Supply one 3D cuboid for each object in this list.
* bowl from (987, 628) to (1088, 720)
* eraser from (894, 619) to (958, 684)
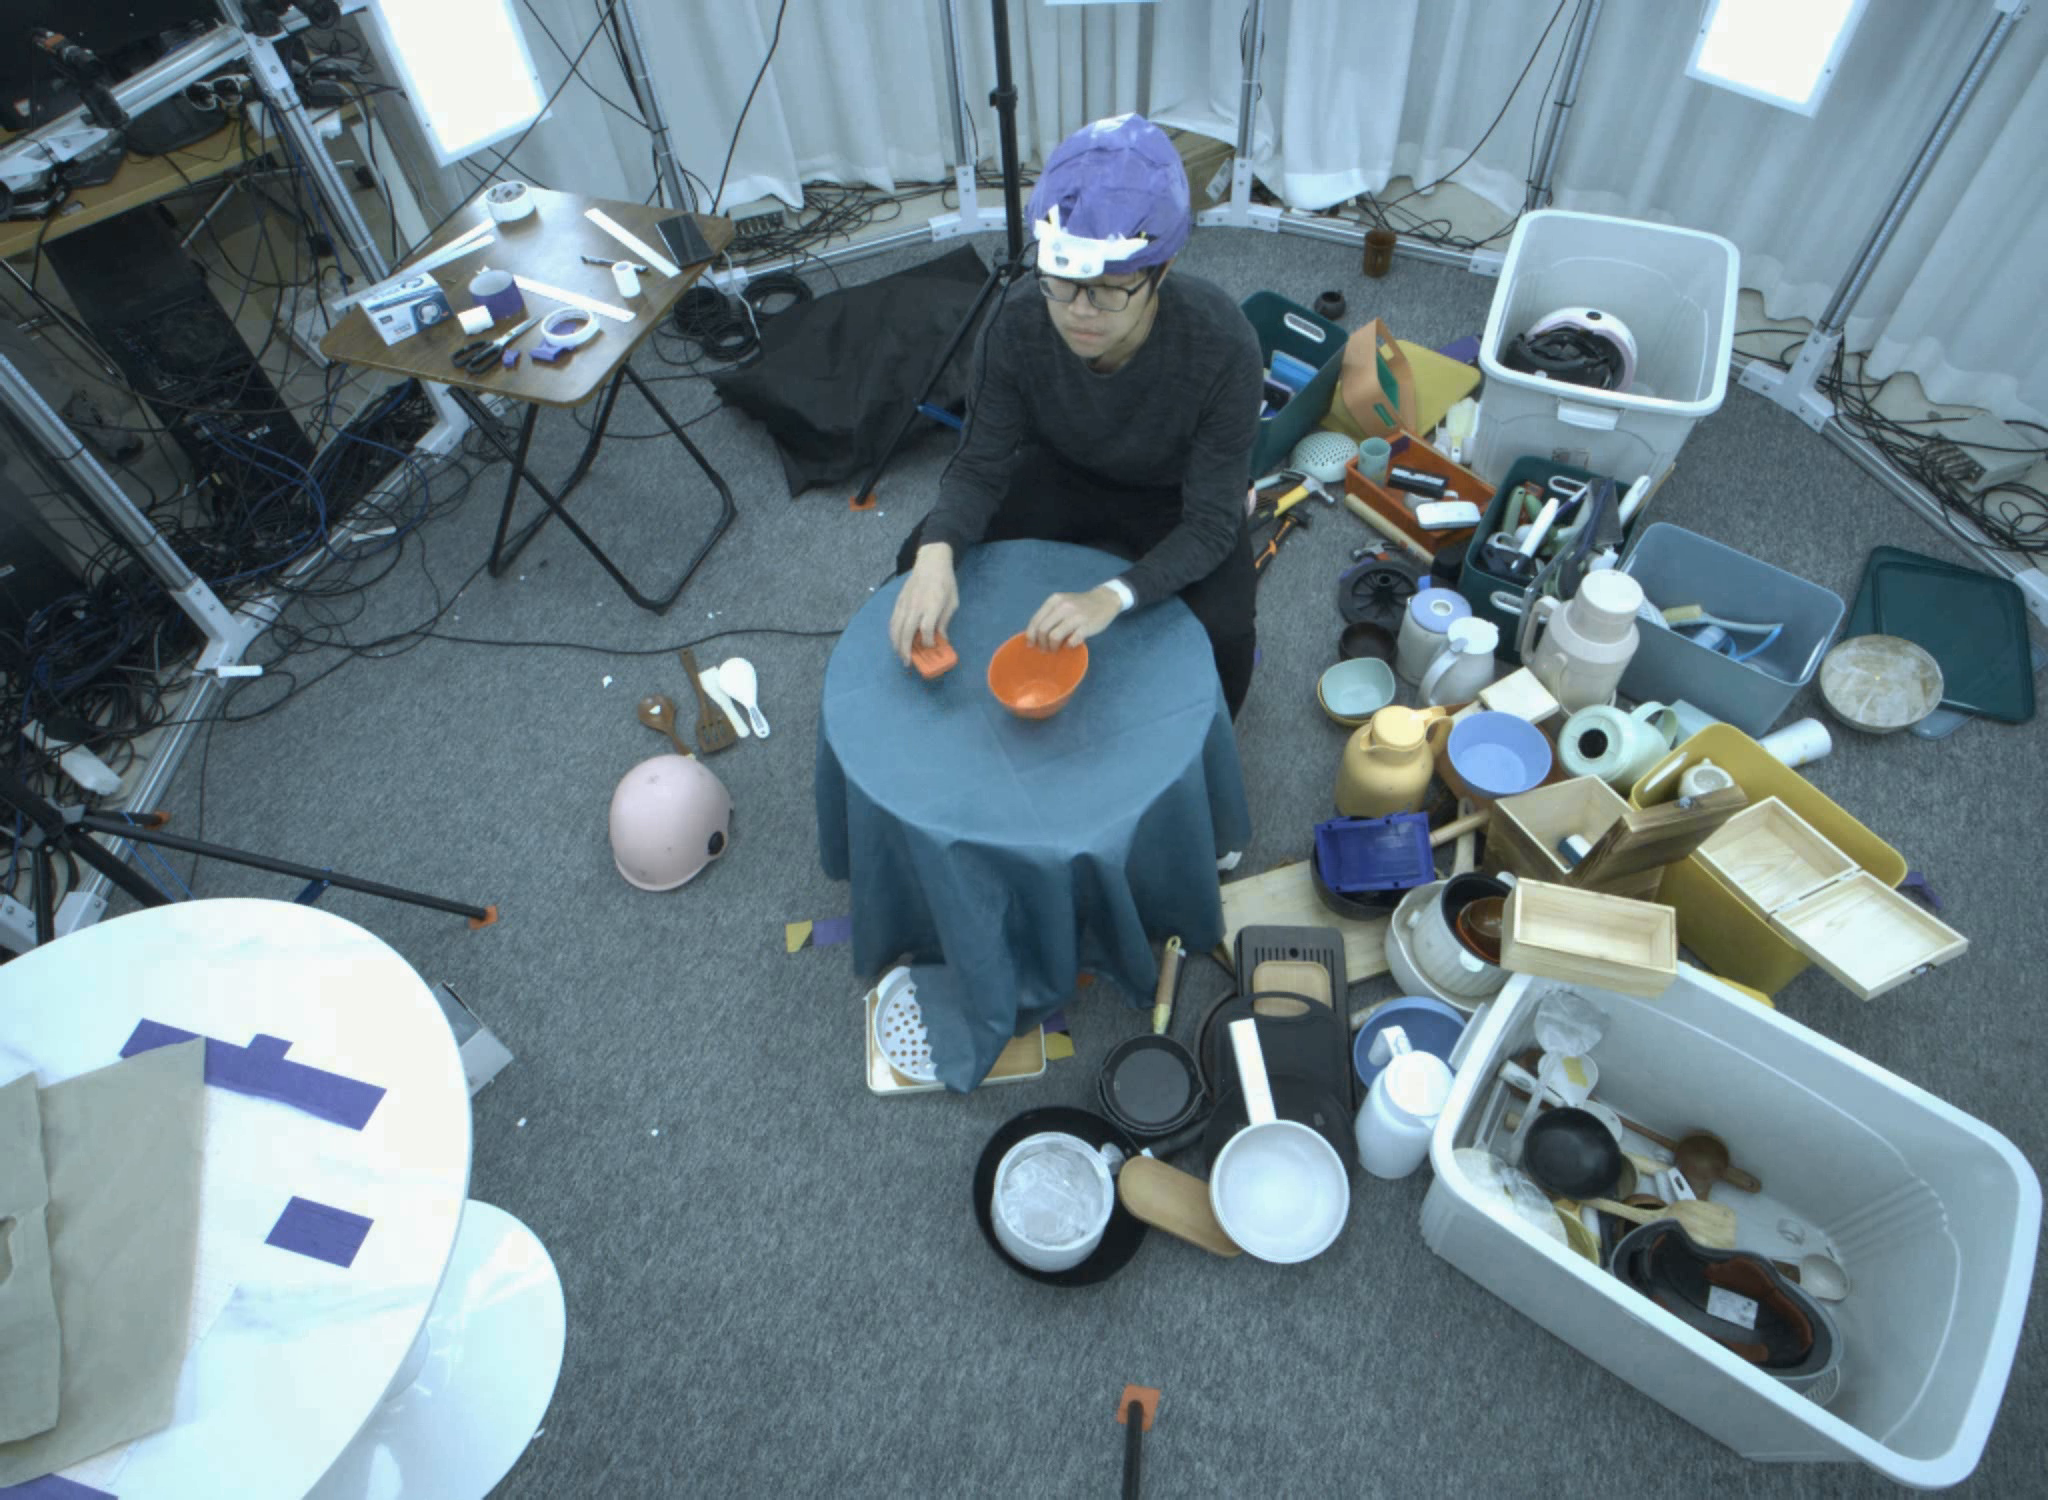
[{"bbox_3d":[0.023,-0.095,1.788,0.147,0.106,0.146,-2,59,5],"label":"bowl"},{"bbox_3d":[-0.147,-0.148,1.835,0.059,0.023,0.106,-30,56,-13],"label":"eraser"}]
